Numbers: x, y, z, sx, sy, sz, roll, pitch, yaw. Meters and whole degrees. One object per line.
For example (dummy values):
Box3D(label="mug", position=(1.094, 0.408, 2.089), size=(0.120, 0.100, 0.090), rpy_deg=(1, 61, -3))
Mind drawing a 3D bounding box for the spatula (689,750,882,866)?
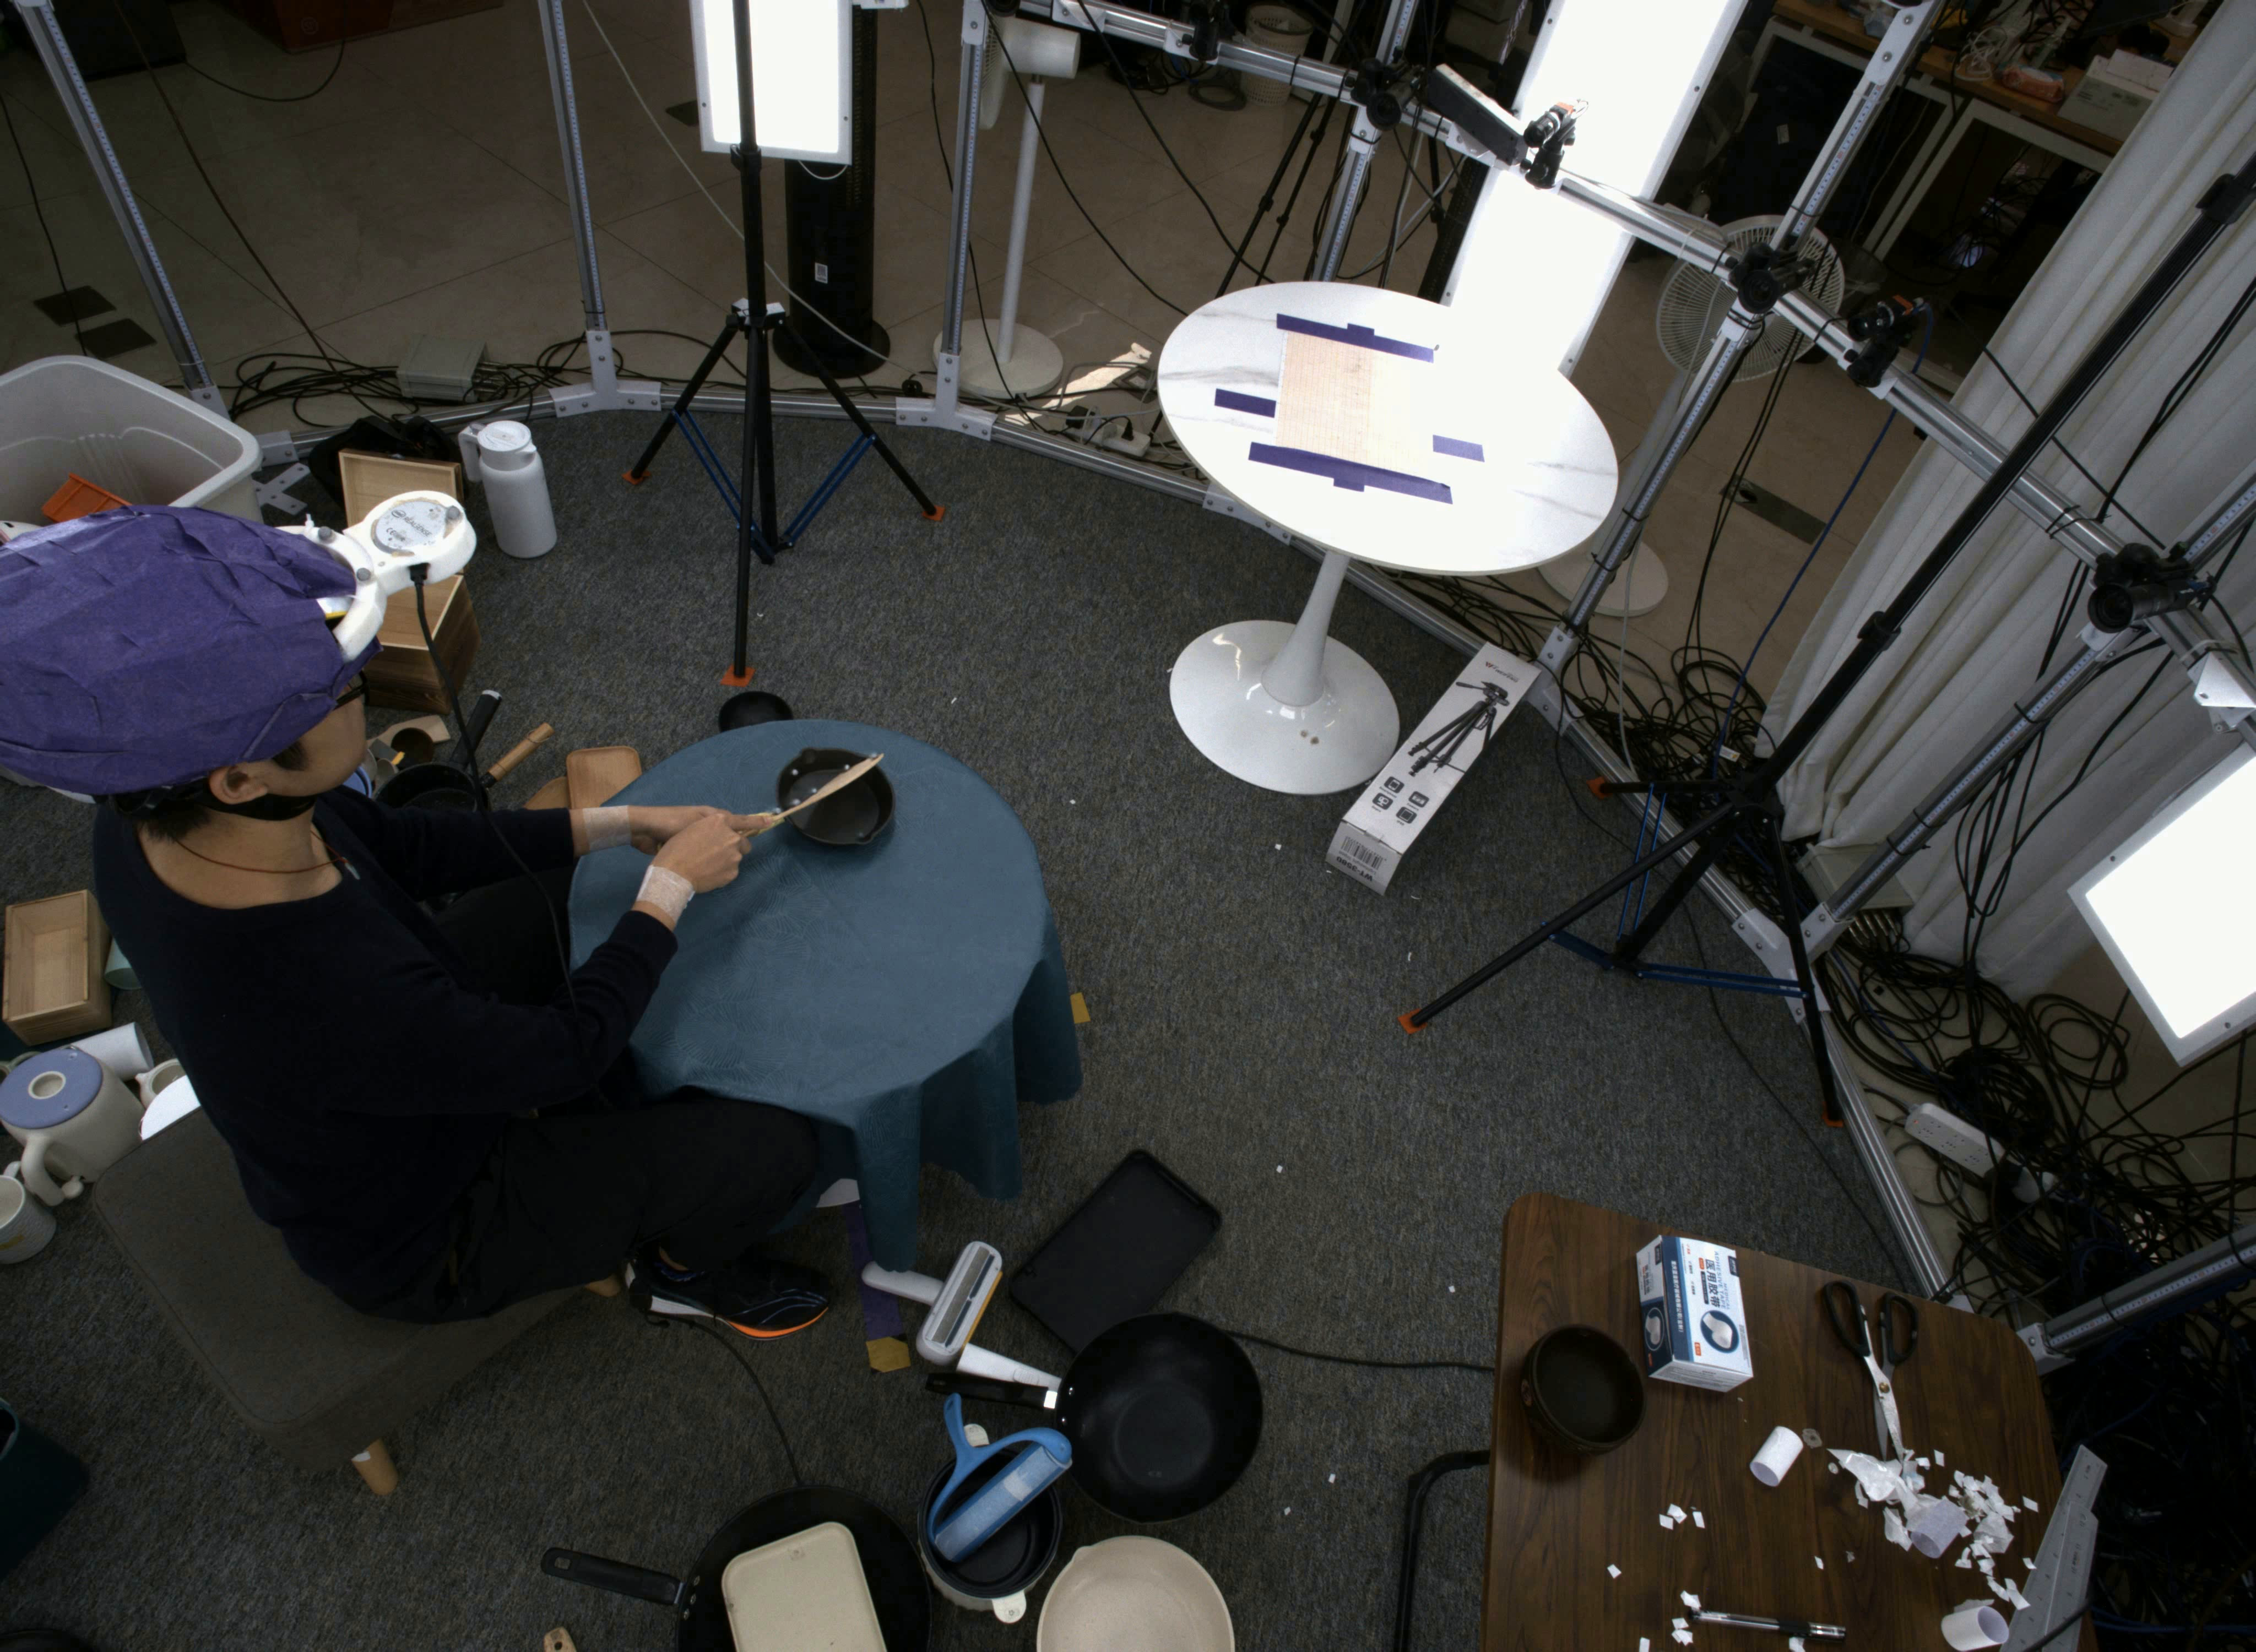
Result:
Box3D(label="spatula", position=(-0.431, -0.024, 1.627), size=(0.328, 0.078, 0.017), rpy_deg=(-38, 106, -52))

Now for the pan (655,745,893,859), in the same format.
Box3D(label="pan", position=(-0.454, -0.014, 1.661), size=(0.327, 0.050, 0.166), rpy_deg=(-20, 67, -36))
